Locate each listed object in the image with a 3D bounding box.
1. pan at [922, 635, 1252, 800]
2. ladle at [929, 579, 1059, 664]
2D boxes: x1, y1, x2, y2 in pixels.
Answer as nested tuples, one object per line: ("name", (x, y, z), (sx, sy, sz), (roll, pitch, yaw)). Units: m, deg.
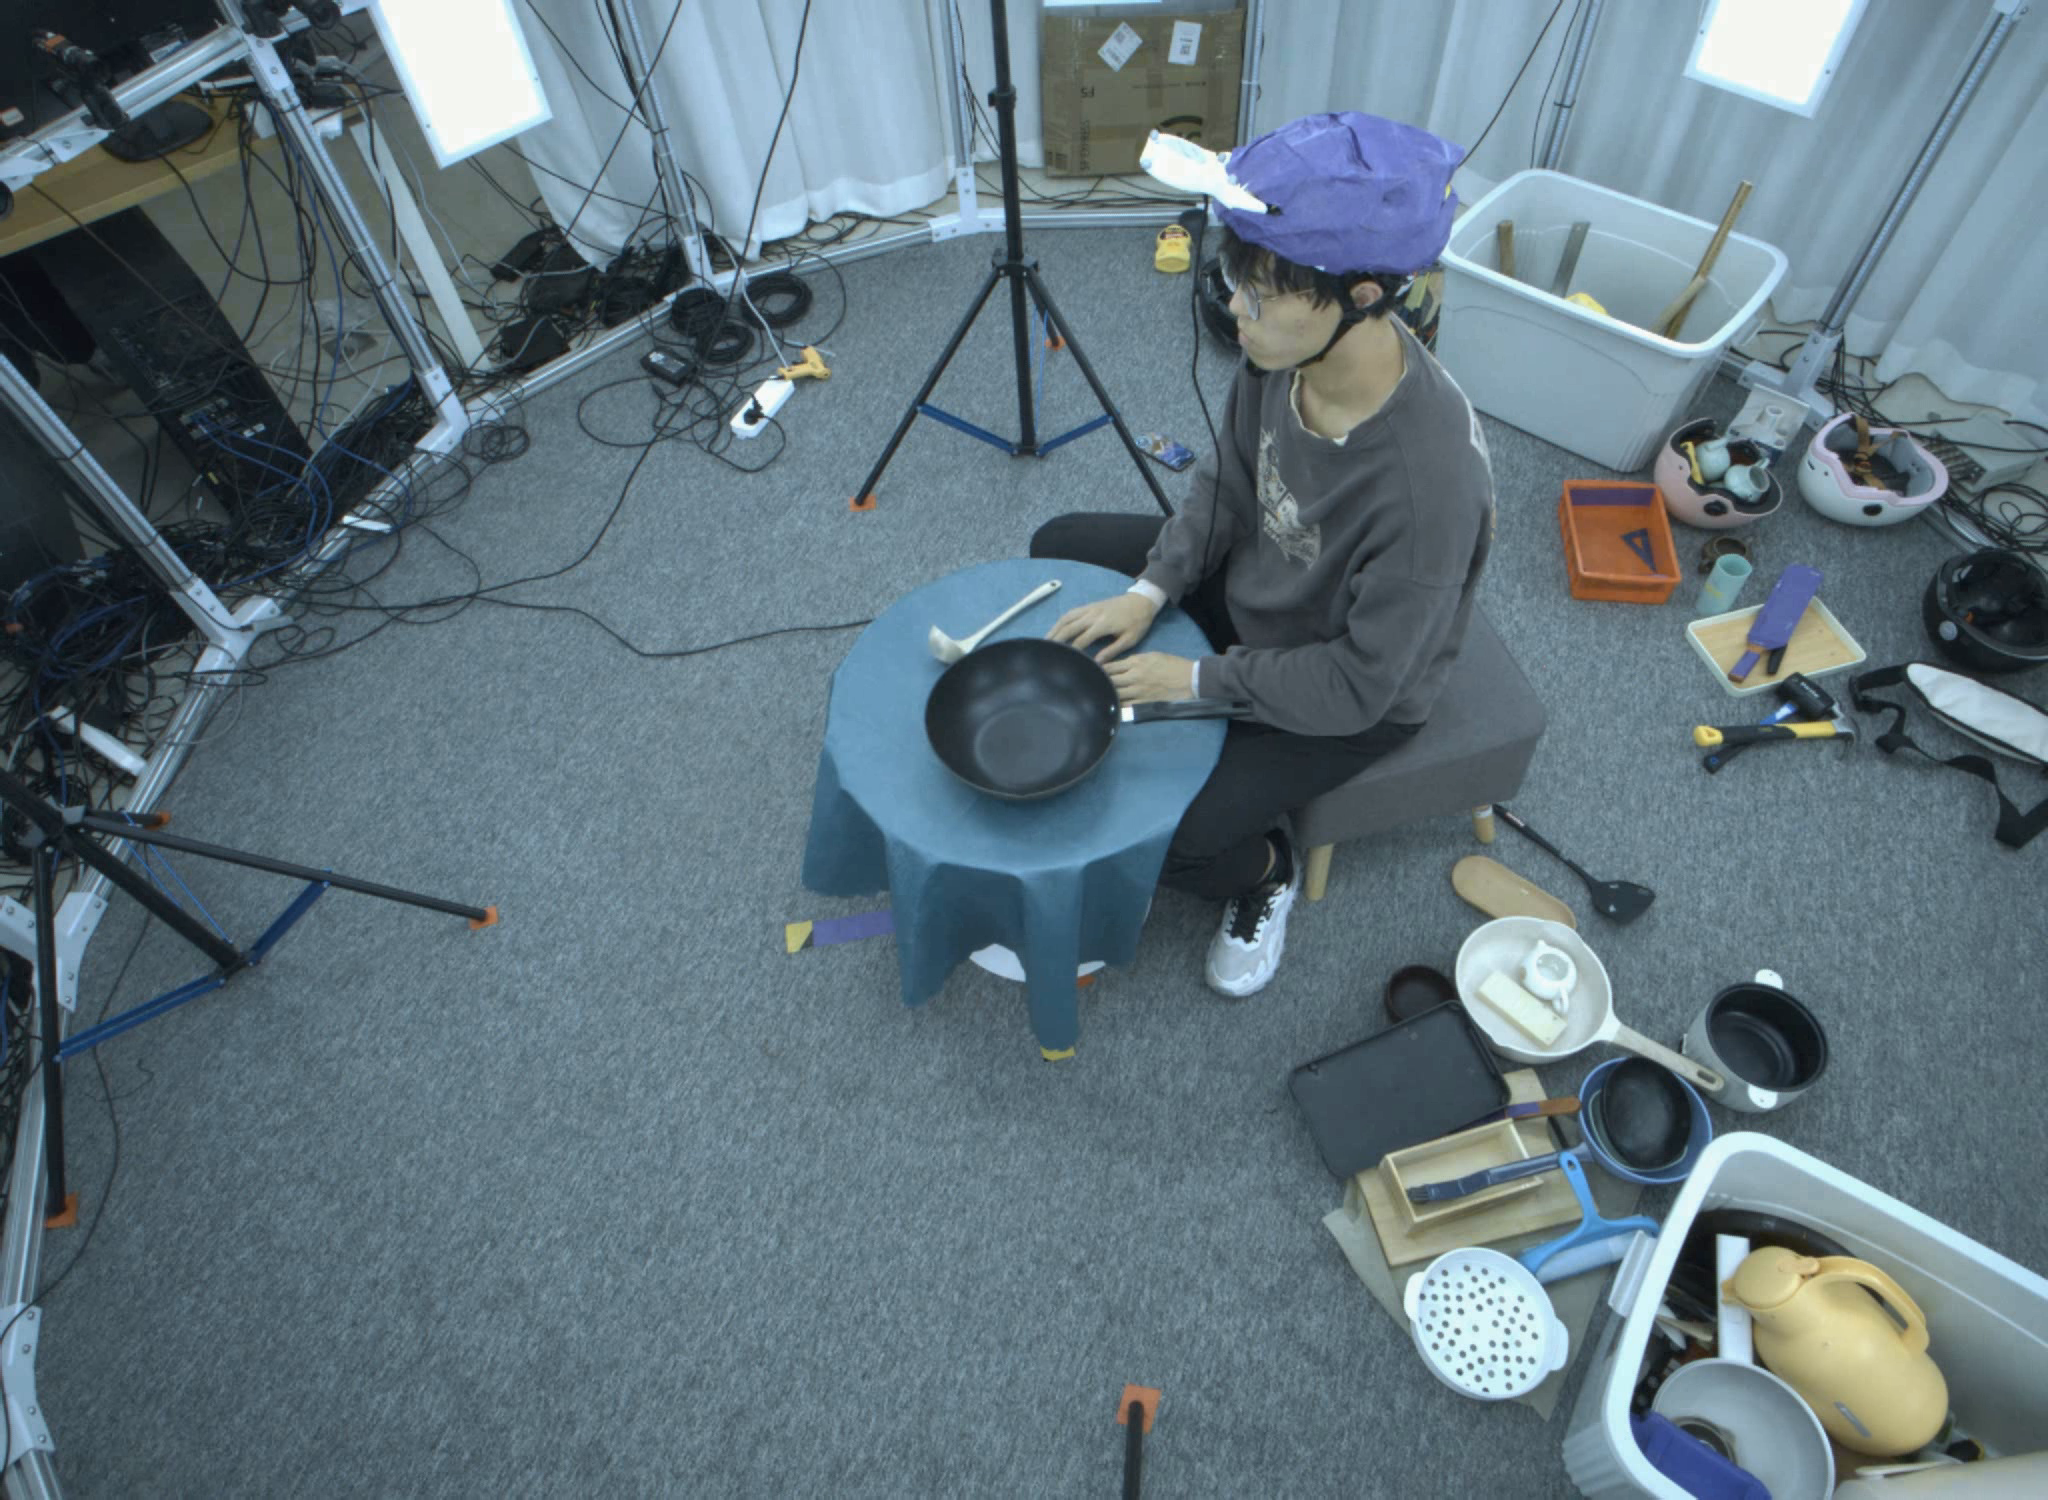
("pan", (0.089, -0.035, 1.756), (0.463, 0.088, 0.285), (0, 54, 0))
("ladle", (-0.041, -0.223, 1.902), (0.256, 0.074, 0.070), (-40, 56, -23))
